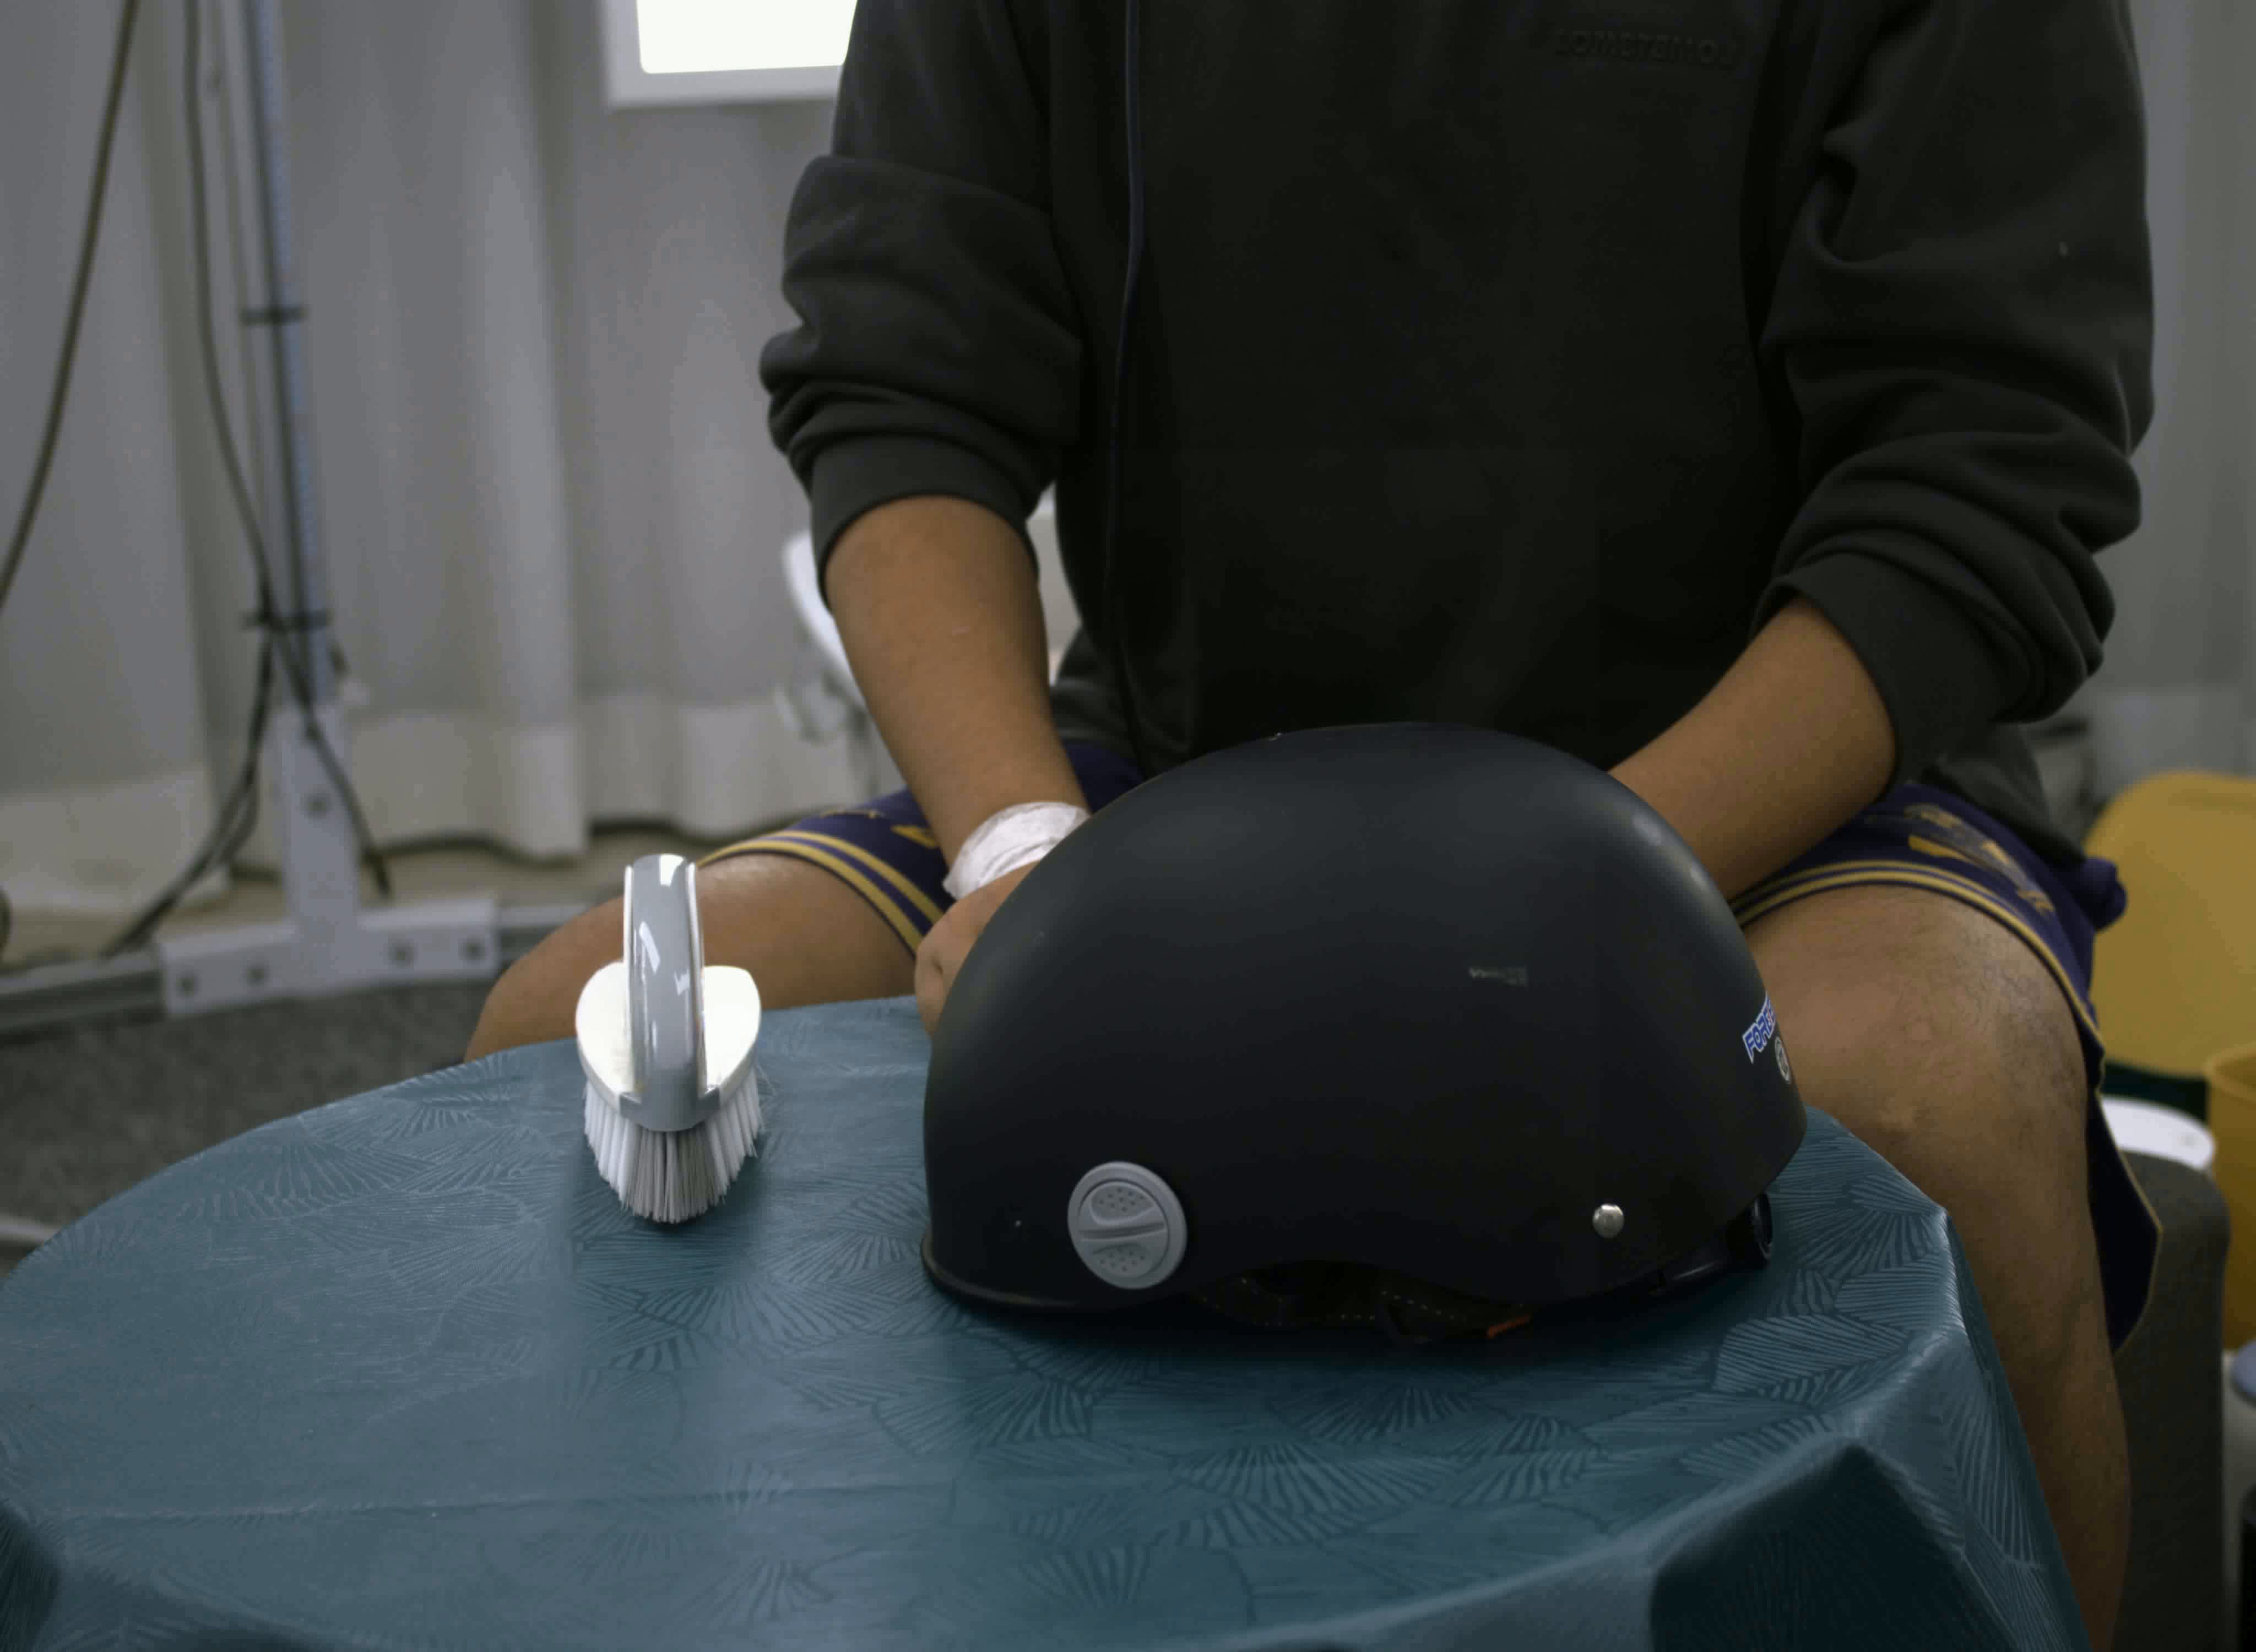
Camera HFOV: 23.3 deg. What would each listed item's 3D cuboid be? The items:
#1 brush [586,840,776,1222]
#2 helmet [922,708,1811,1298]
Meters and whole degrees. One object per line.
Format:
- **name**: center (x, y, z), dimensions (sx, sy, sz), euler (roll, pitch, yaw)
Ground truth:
- **brush**: center (-0.146, 0.061, 1.772), dimensions (0.061, 0.094, 0.177), euler (-5, 16, -3)
- **helmet**: center (0.066, 0.050, 1.640), dimensions (0.273, 0.166, 0.231), euler (0, 14, 19)
